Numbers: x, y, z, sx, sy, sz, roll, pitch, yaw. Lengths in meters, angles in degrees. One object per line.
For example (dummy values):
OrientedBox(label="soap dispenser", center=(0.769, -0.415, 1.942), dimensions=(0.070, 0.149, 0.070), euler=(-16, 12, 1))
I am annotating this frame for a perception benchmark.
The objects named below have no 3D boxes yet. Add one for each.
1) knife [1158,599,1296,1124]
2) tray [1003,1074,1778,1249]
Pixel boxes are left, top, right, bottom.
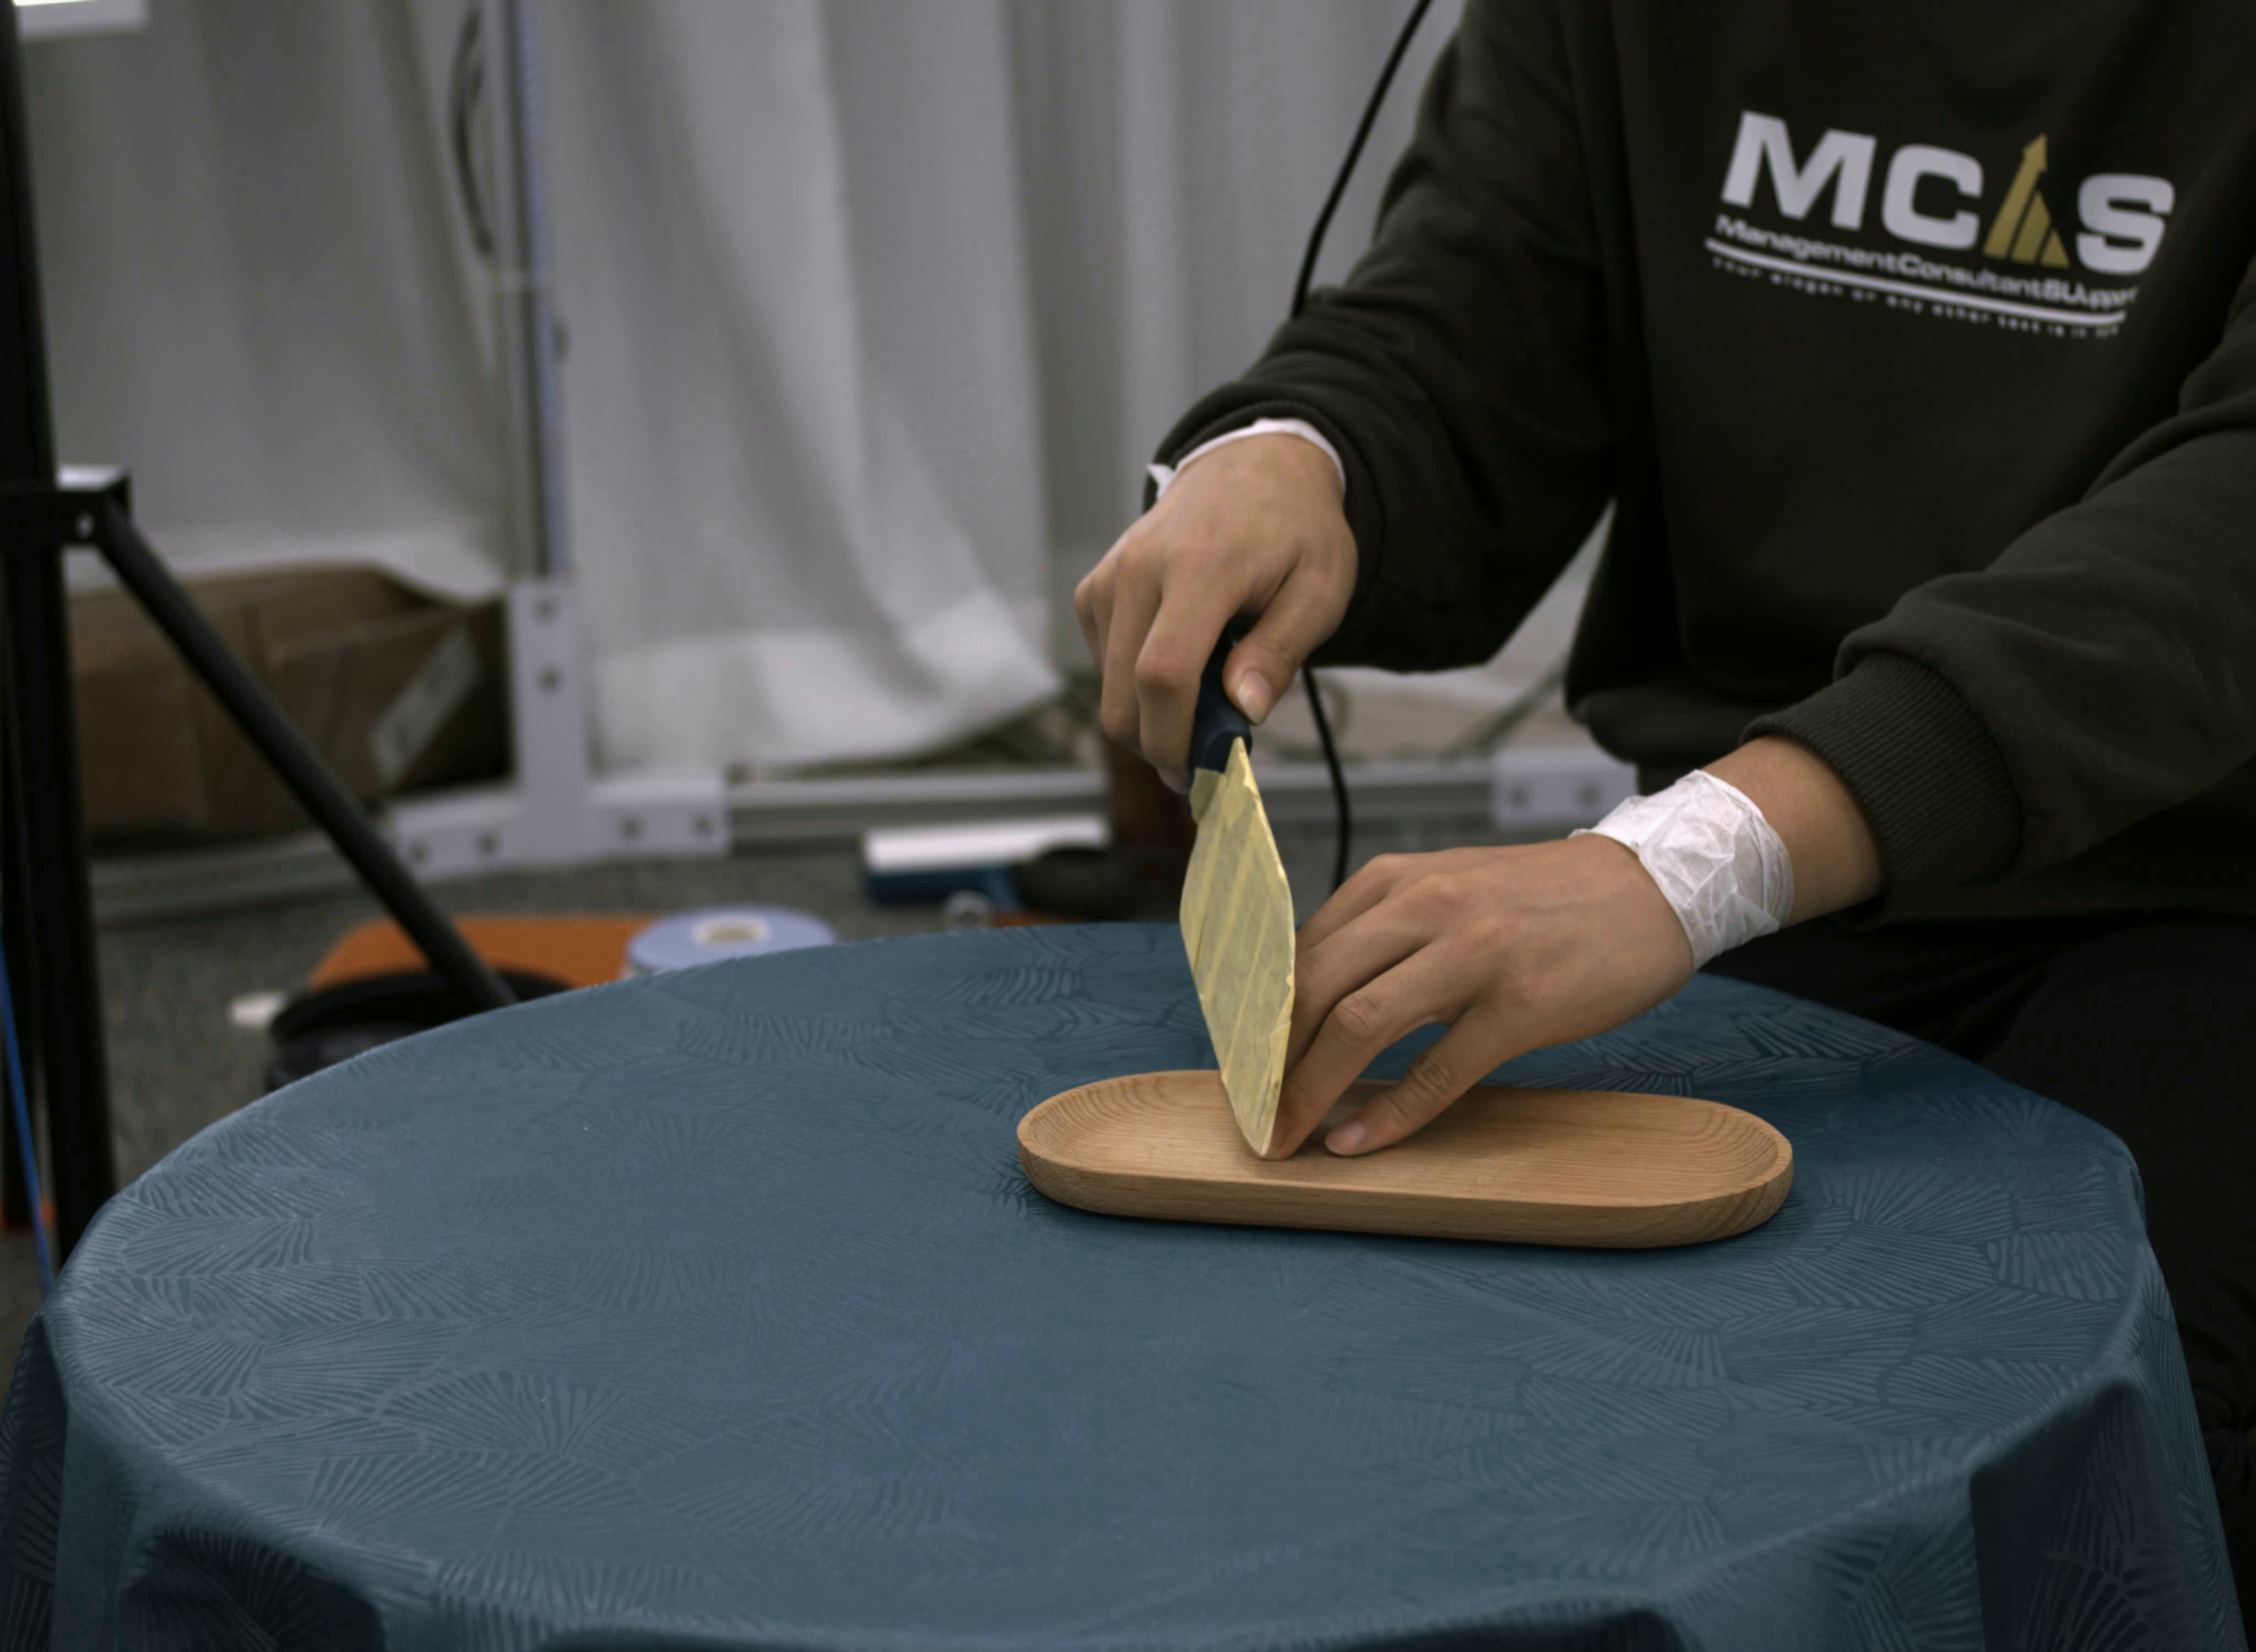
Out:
OrientedBox(label="knife", center=(0.029, 0.007, 1.665), dimensions=(0.027, 0.081, 0.292), euler=(12, 27, -11))
OrientedBox(label="tray", center=(0.076, 0.099, 1.555), dimensions=(0.233, 0.020, 0.100), euler=(1, 14, 18))
